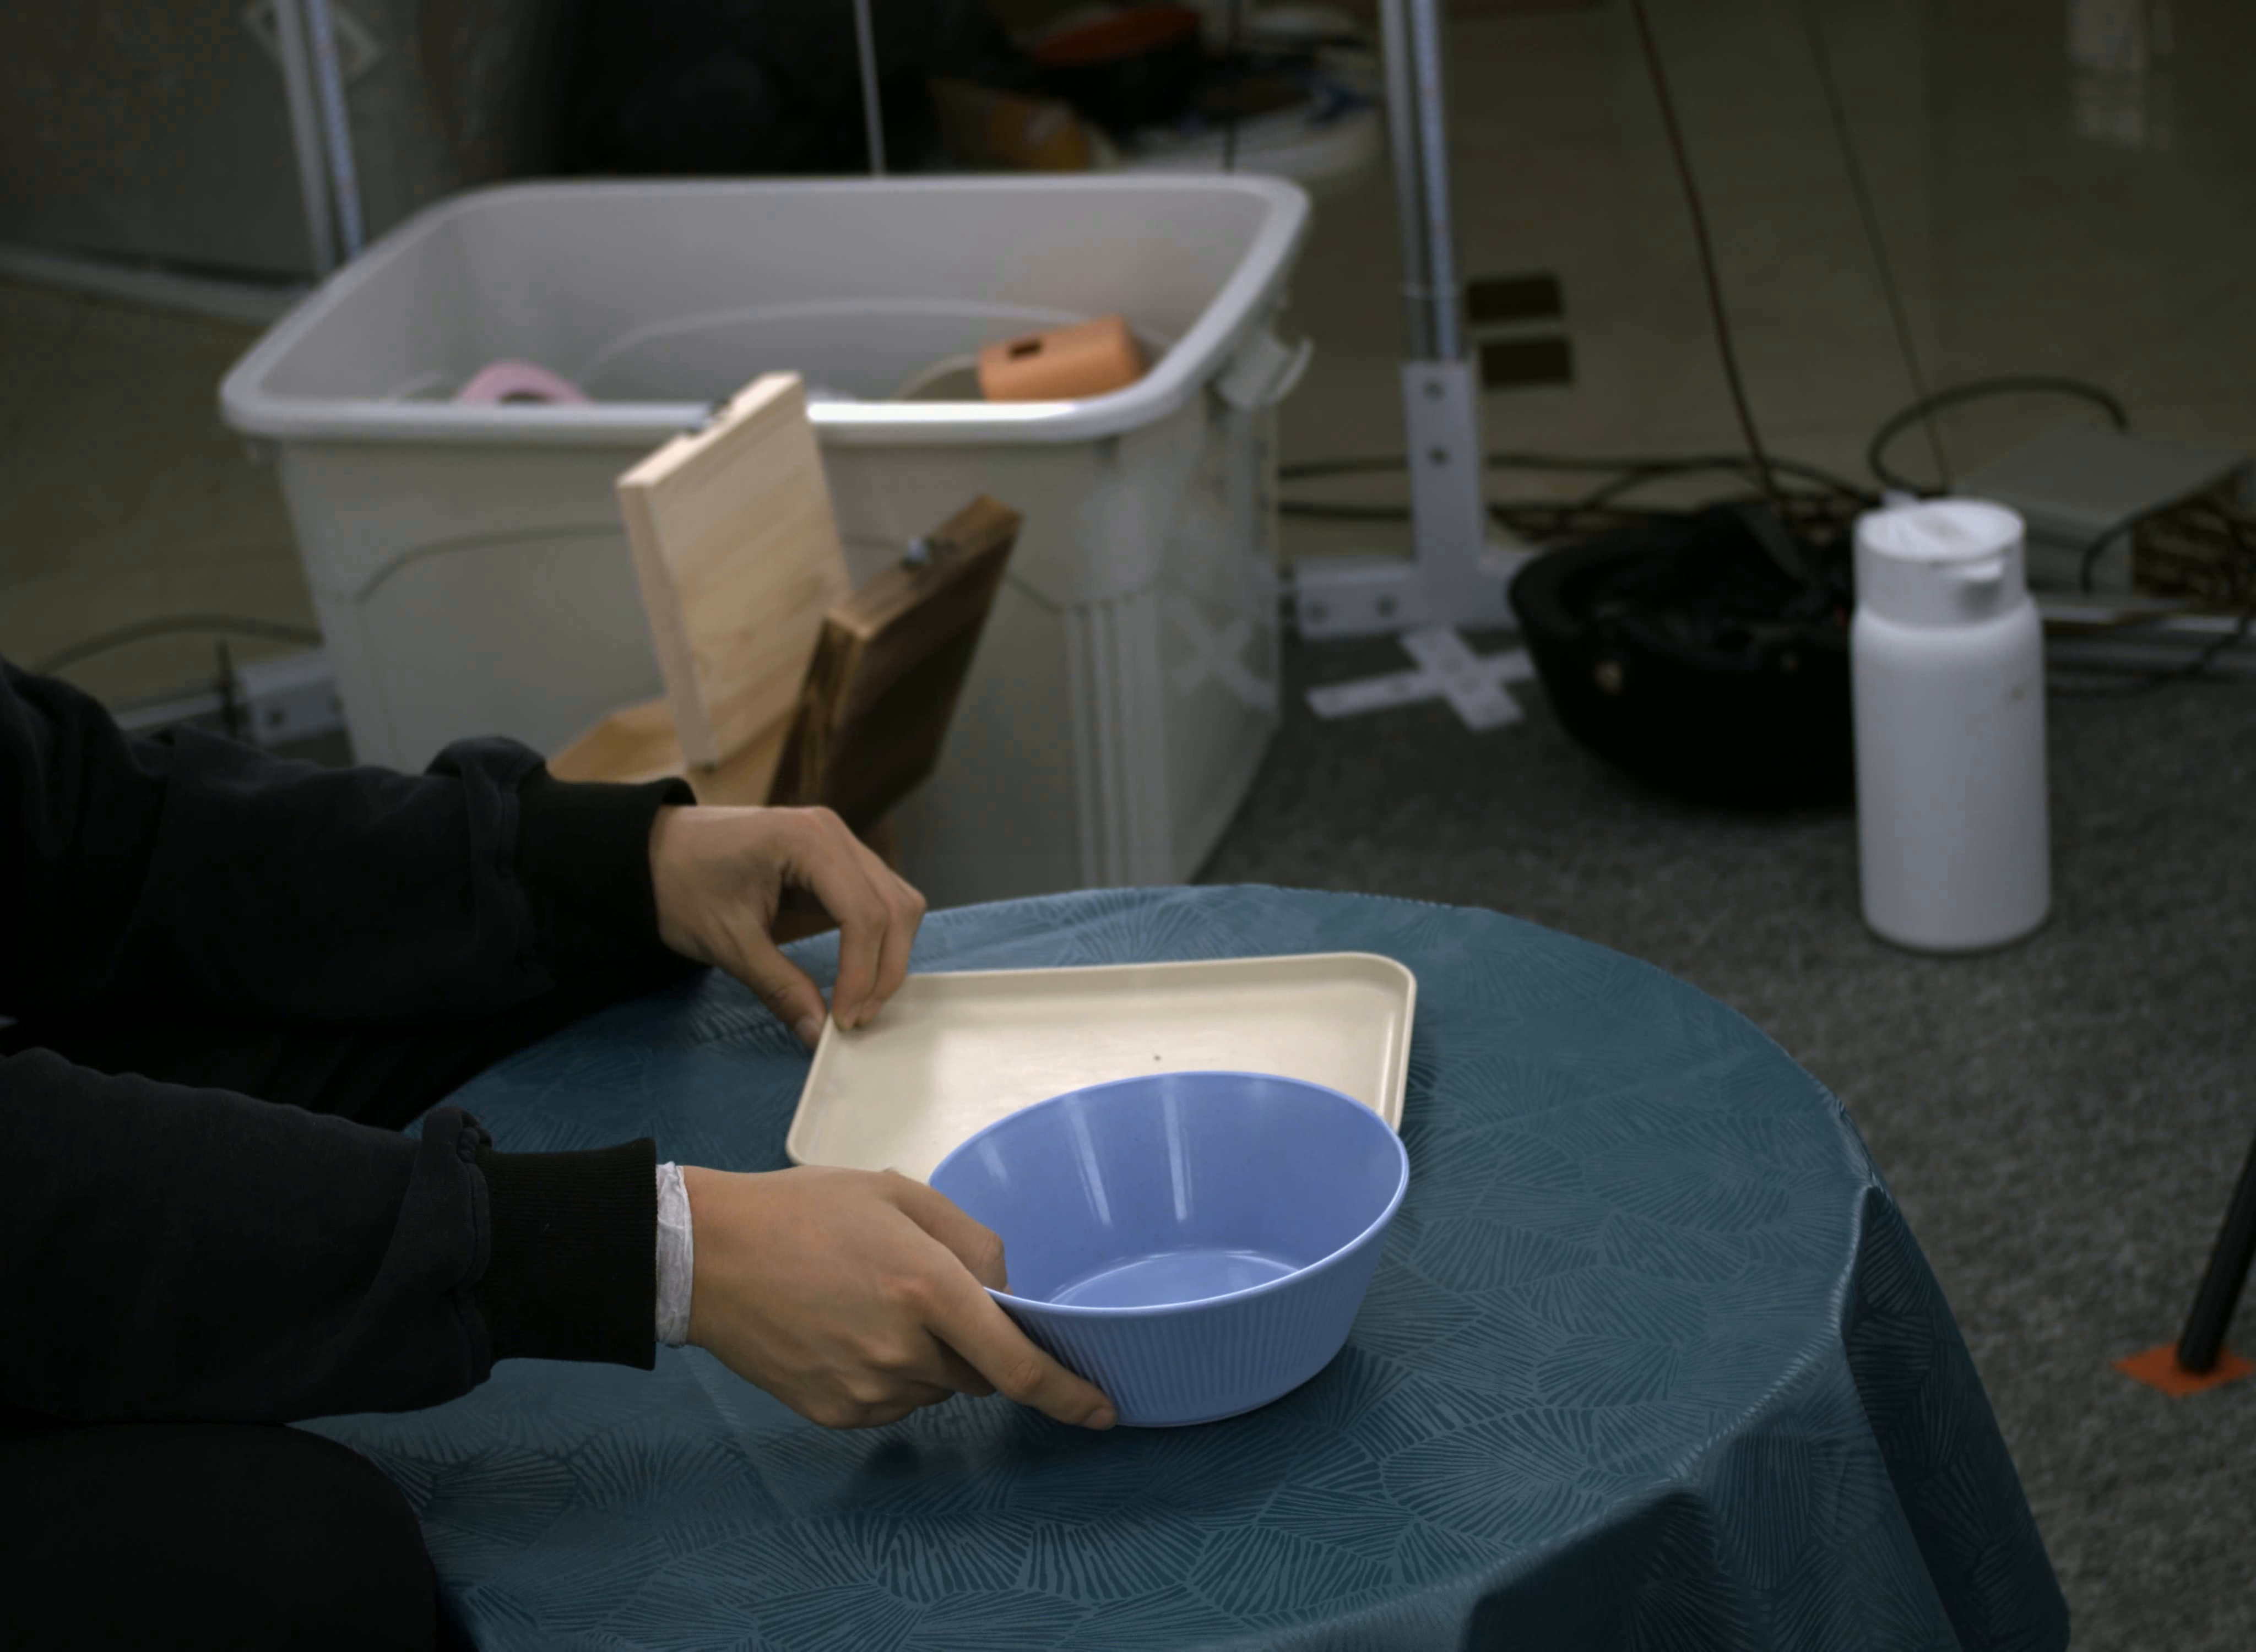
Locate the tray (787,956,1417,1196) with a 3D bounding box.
[{"bbox_3d":[-0.007,0.099,2.219,0.239,0.018,0.169,-3,24,8],"label":"tray"}]

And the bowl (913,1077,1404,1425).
[{"bbox_3d":[0.014,0.157,2.023,0.176,0.071,0.173,-6,25,3],"label":"bowl"}]
